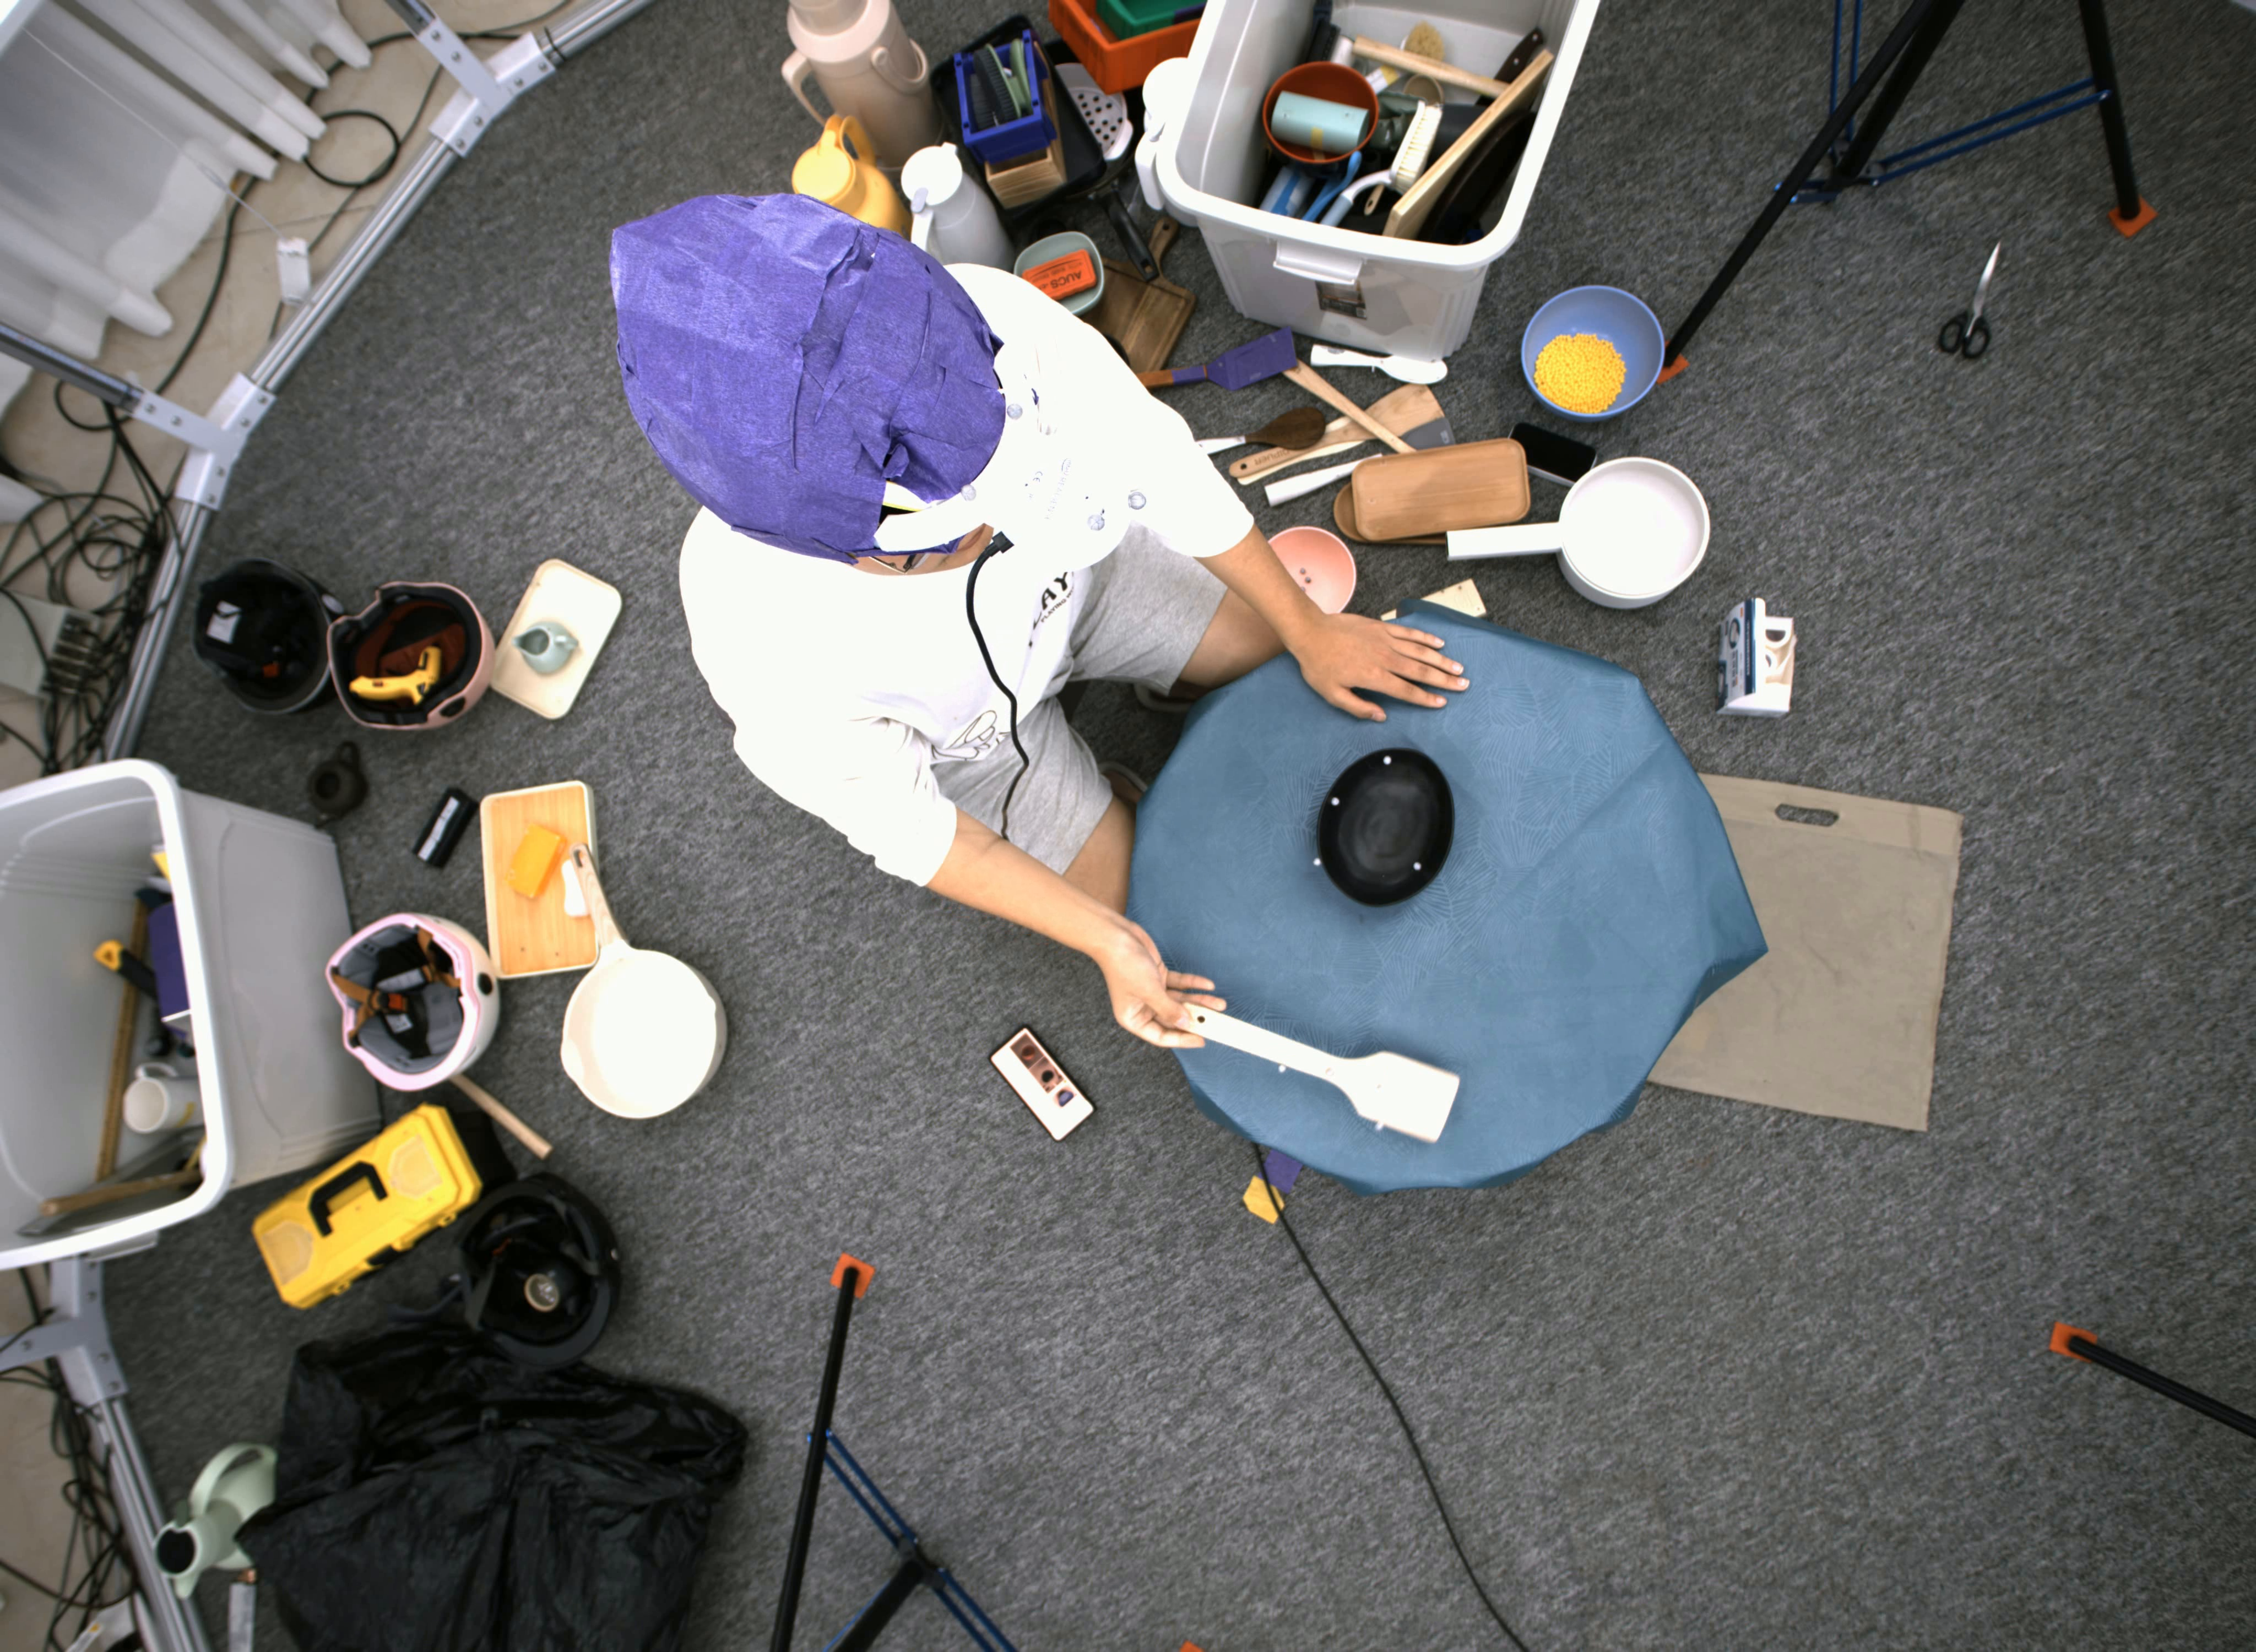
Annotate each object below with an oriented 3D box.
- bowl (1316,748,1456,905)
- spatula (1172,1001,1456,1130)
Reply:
[{"bbox_3d":[0.268,0.000,1.432,0.137,0.067,0.170,18,88,12],"label":"bowl"},{"bbox_3d":[0.185,0.232,1.399,0.293,0.010,0.072,18,93,-1],"label":"spatula"}]
